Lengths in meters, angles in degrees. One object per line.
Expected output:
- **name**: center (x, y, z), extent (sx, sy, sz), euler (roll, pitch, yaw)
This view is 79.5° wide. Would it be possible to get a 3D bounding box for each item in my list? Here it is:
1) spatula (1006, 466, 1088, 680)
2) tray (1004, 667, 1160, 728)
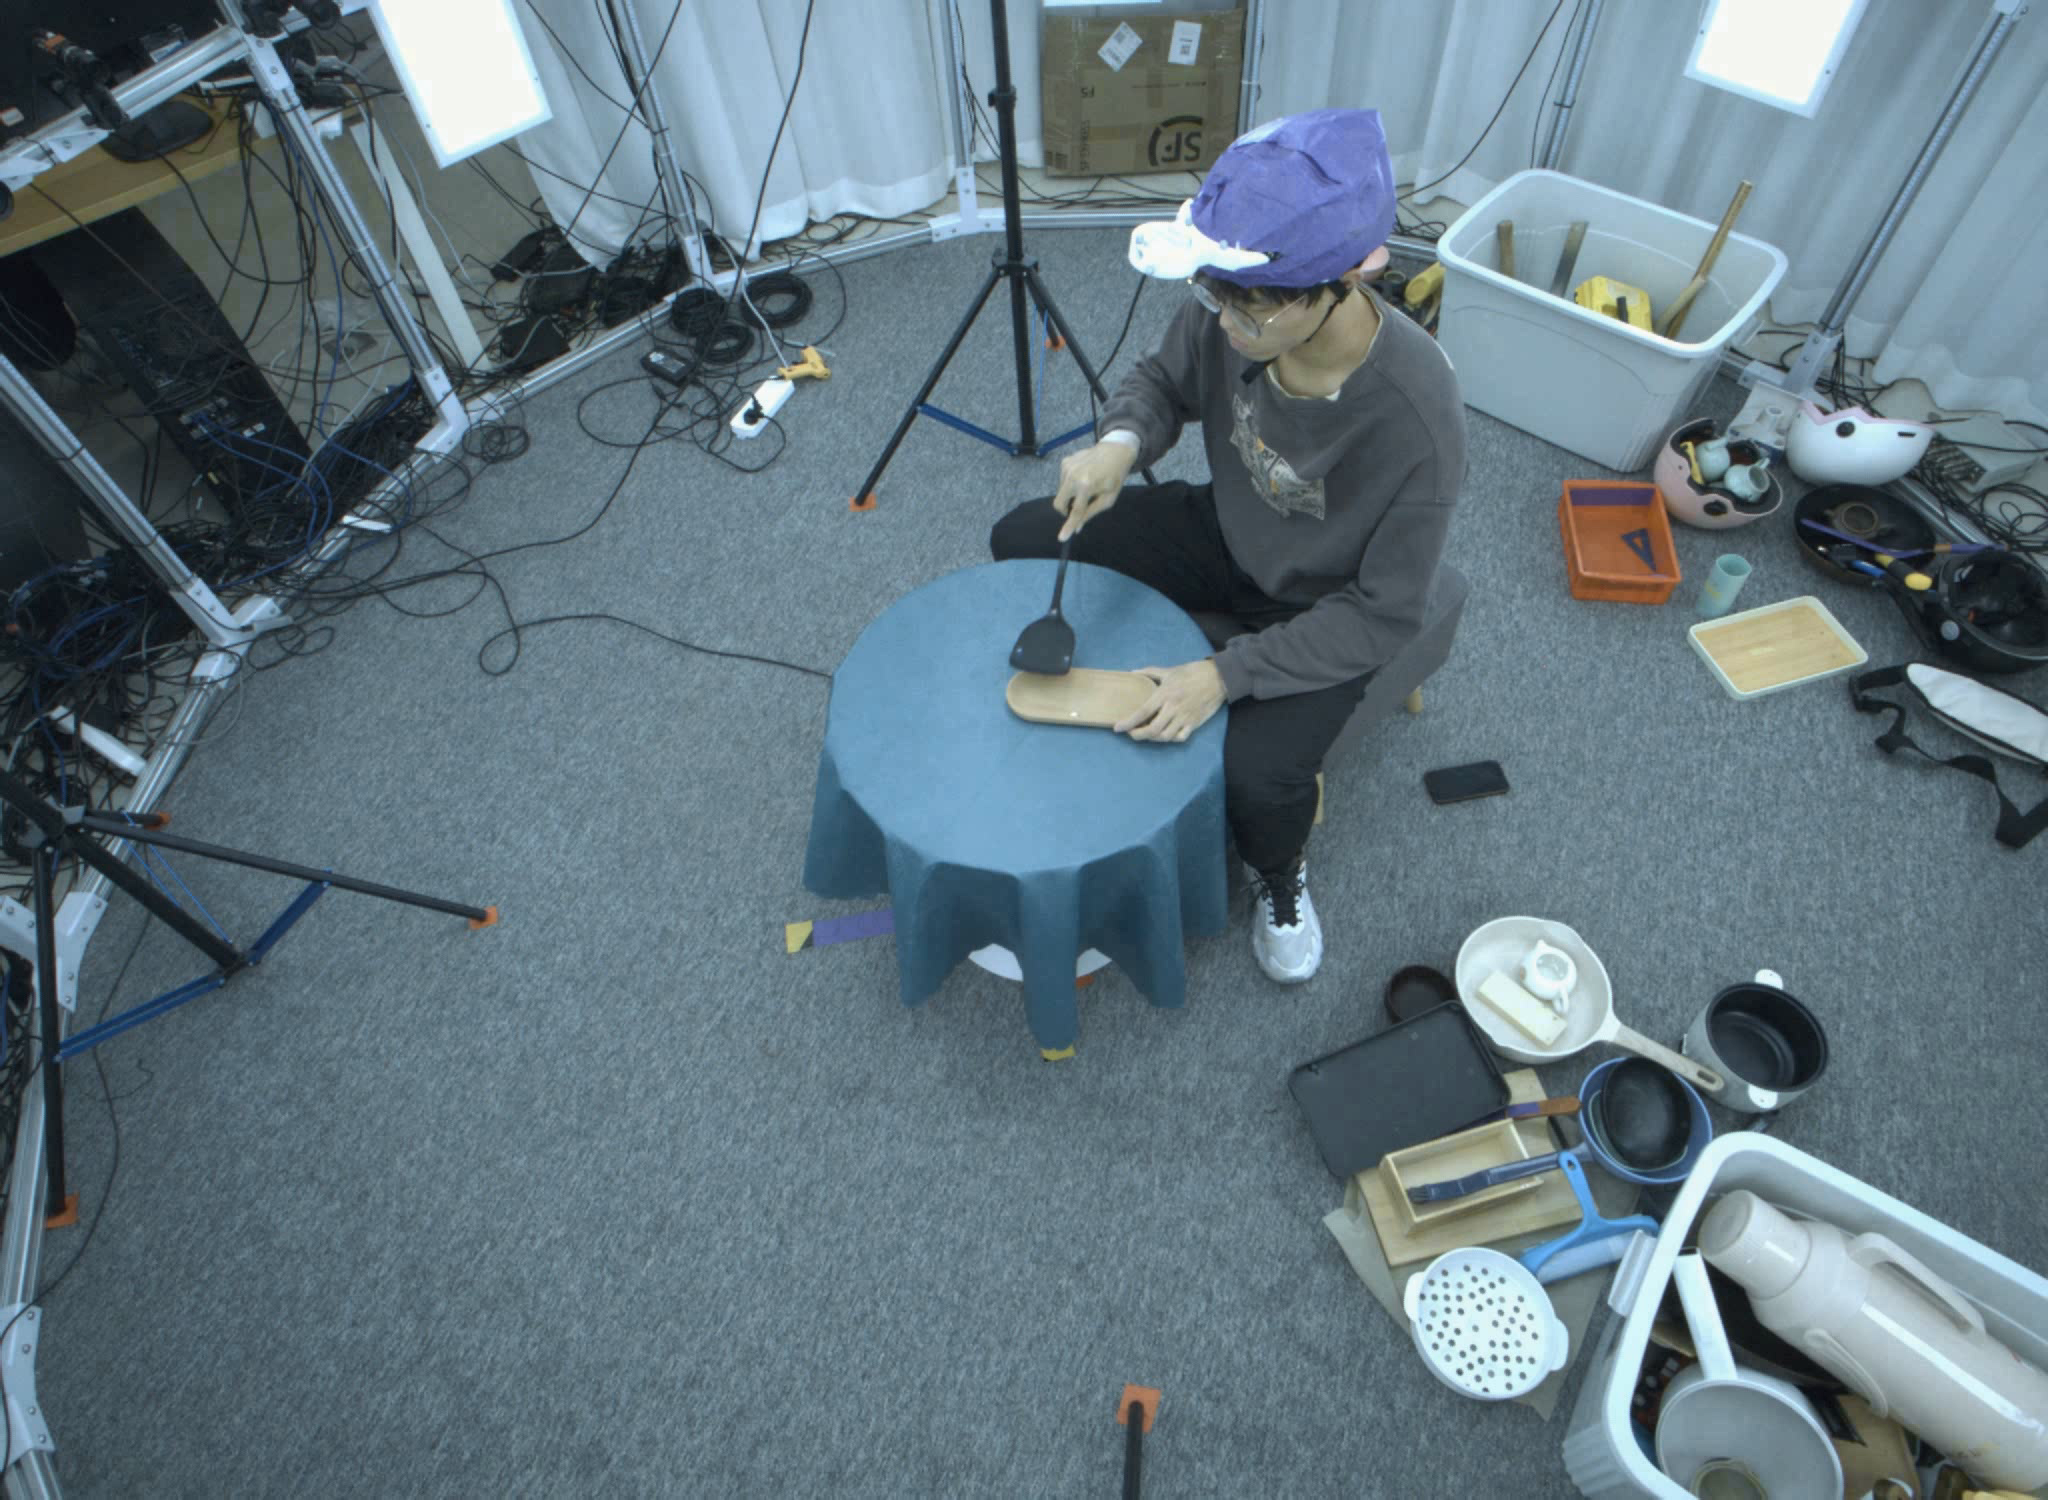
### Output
- **spatula**: center (0.052, -0.264, 1.808), extent (0.098, 0.041, 0.326), euler (11, 92, 17)
- **tray**: center (0.085, -0.079, 1.828), extent (0.230, 0.020, 0.101), euler (4, 53, 7)
